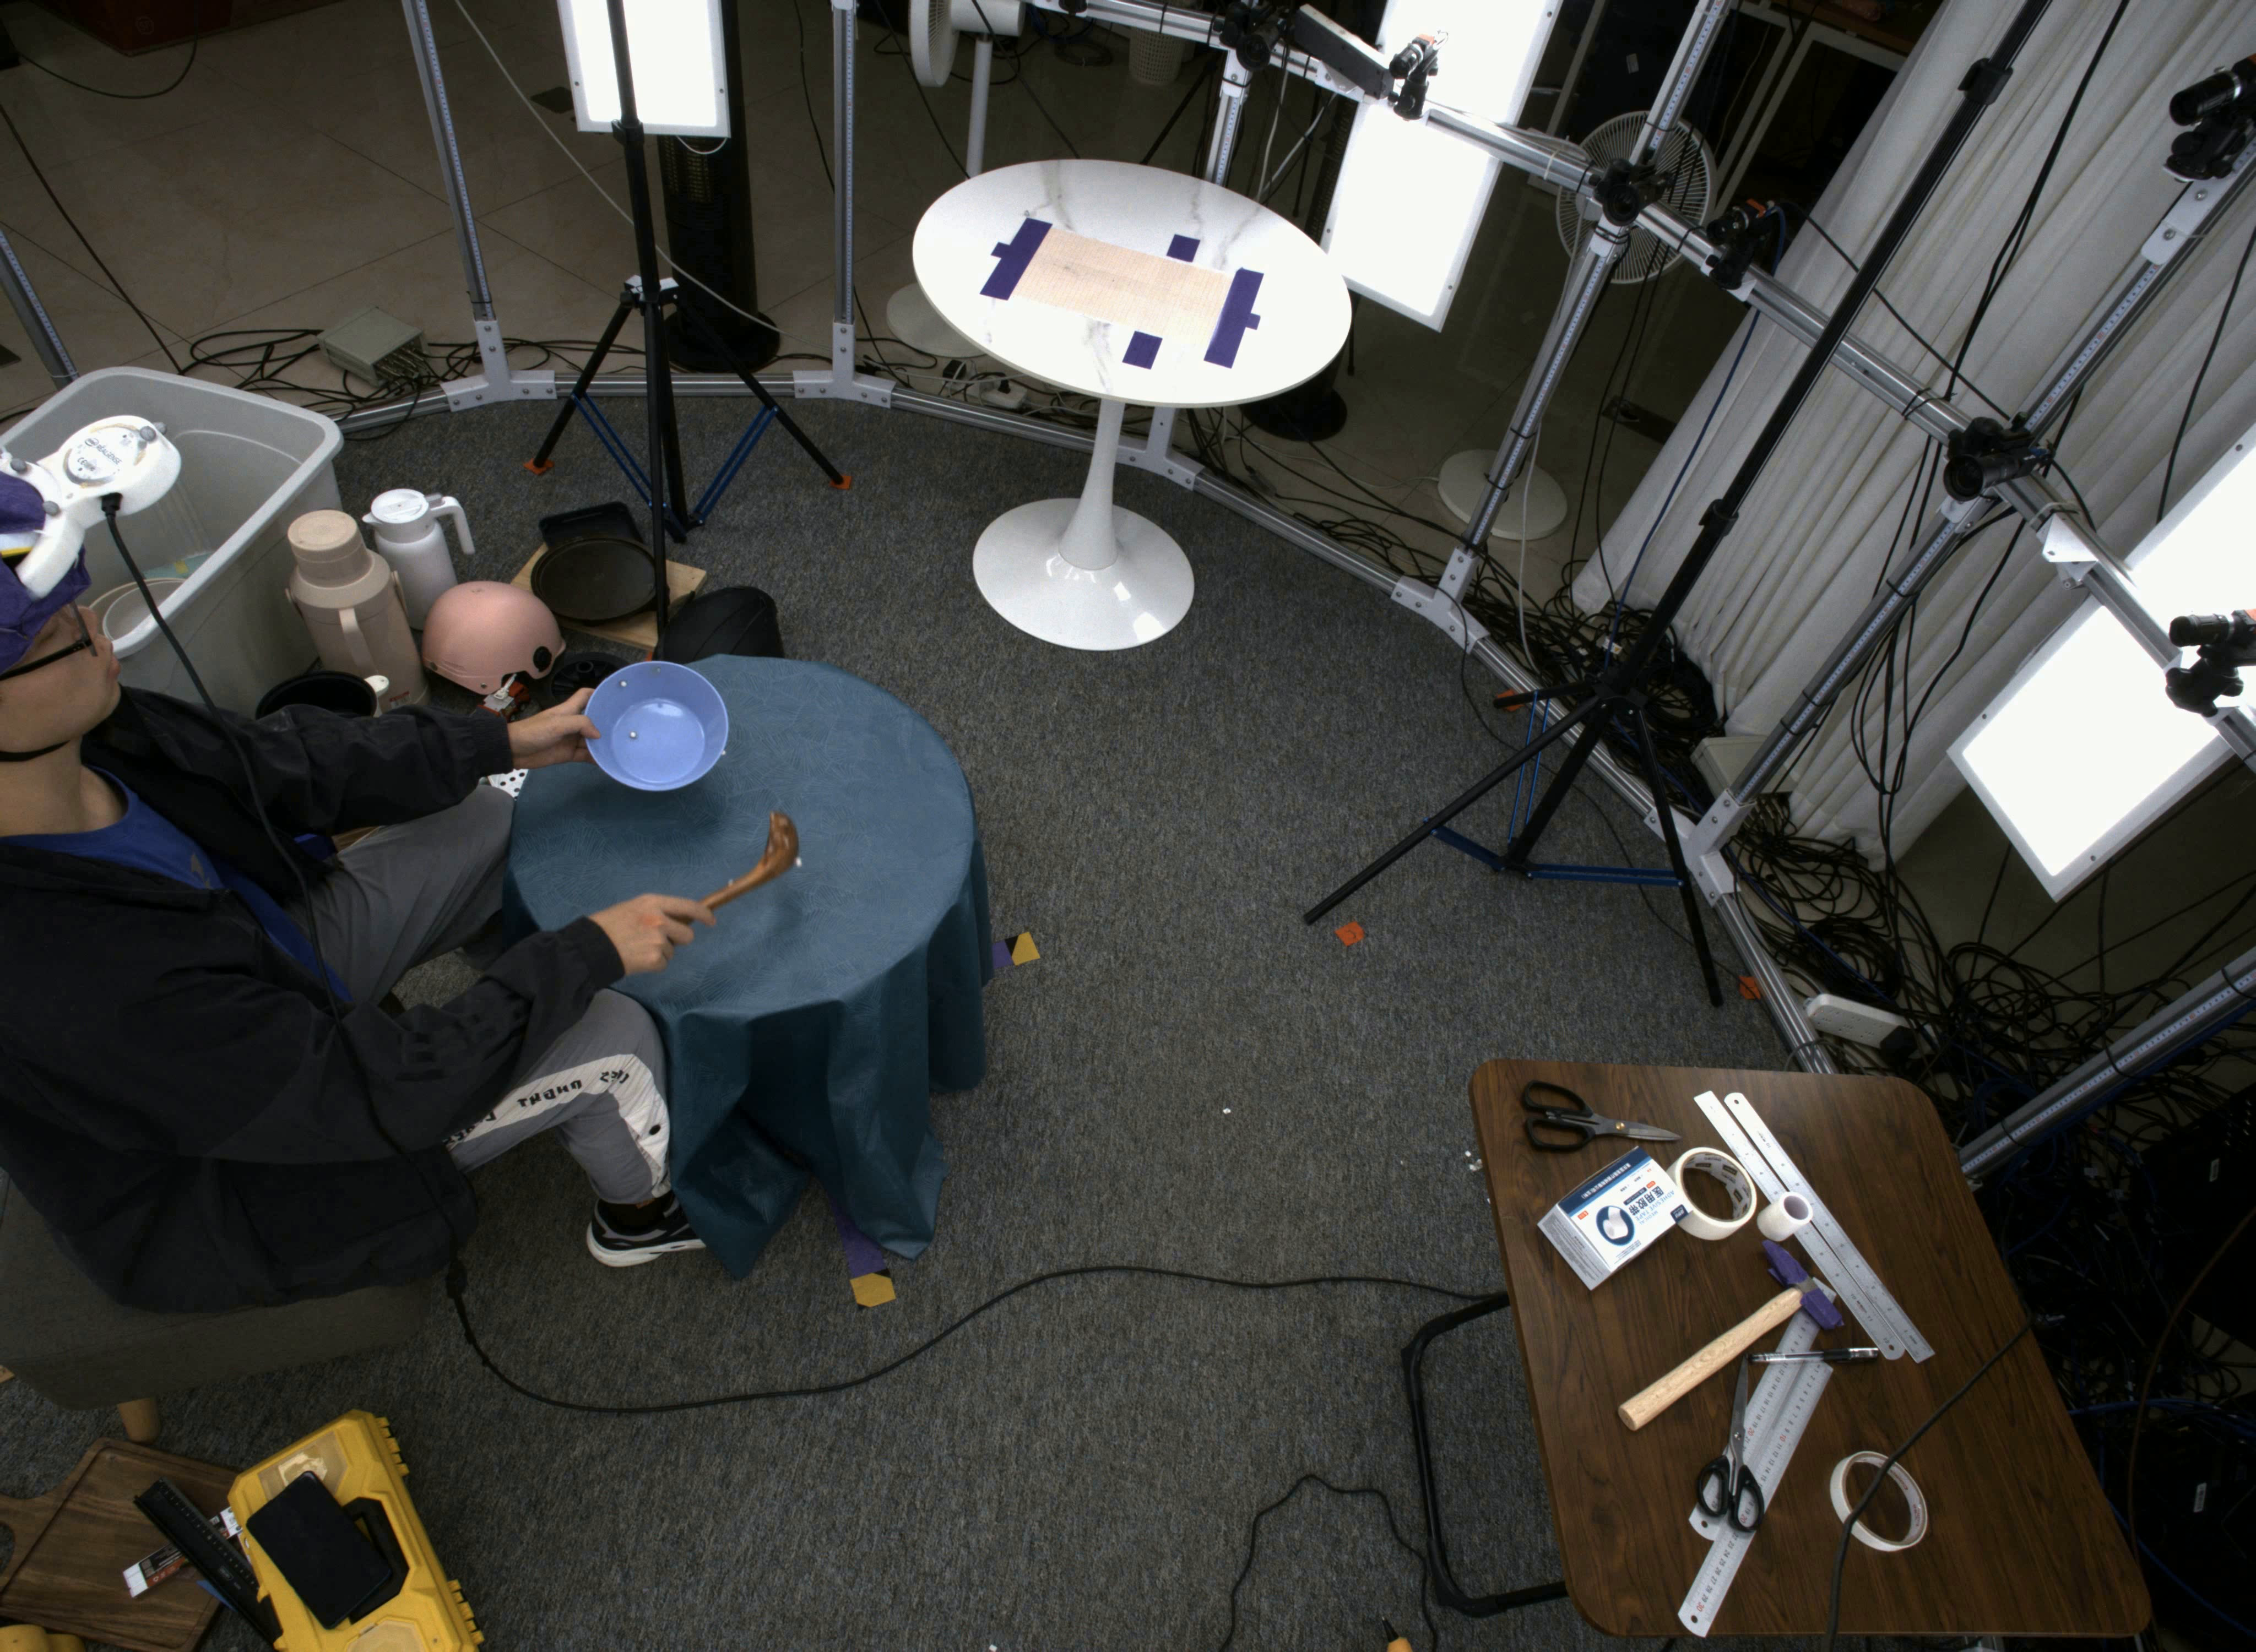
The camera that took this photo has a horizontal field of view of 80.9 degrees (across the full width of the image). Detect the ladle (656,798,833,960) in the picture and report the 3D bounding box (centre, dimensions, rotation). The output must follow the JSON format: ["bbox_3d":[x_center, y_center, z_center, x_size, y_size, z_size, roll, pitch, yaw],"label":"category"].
[{"bbox_3d":[-0.466,0.058,1.558,0.074,0.085,0.274,30,51,34],"label":"ladle"}]

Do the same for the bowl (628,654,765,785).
[{"bbox_3d":[-0.562,-0.129,1.677,0.177,0.070,0.176,5,75,-16],"label":"bowl"}]
